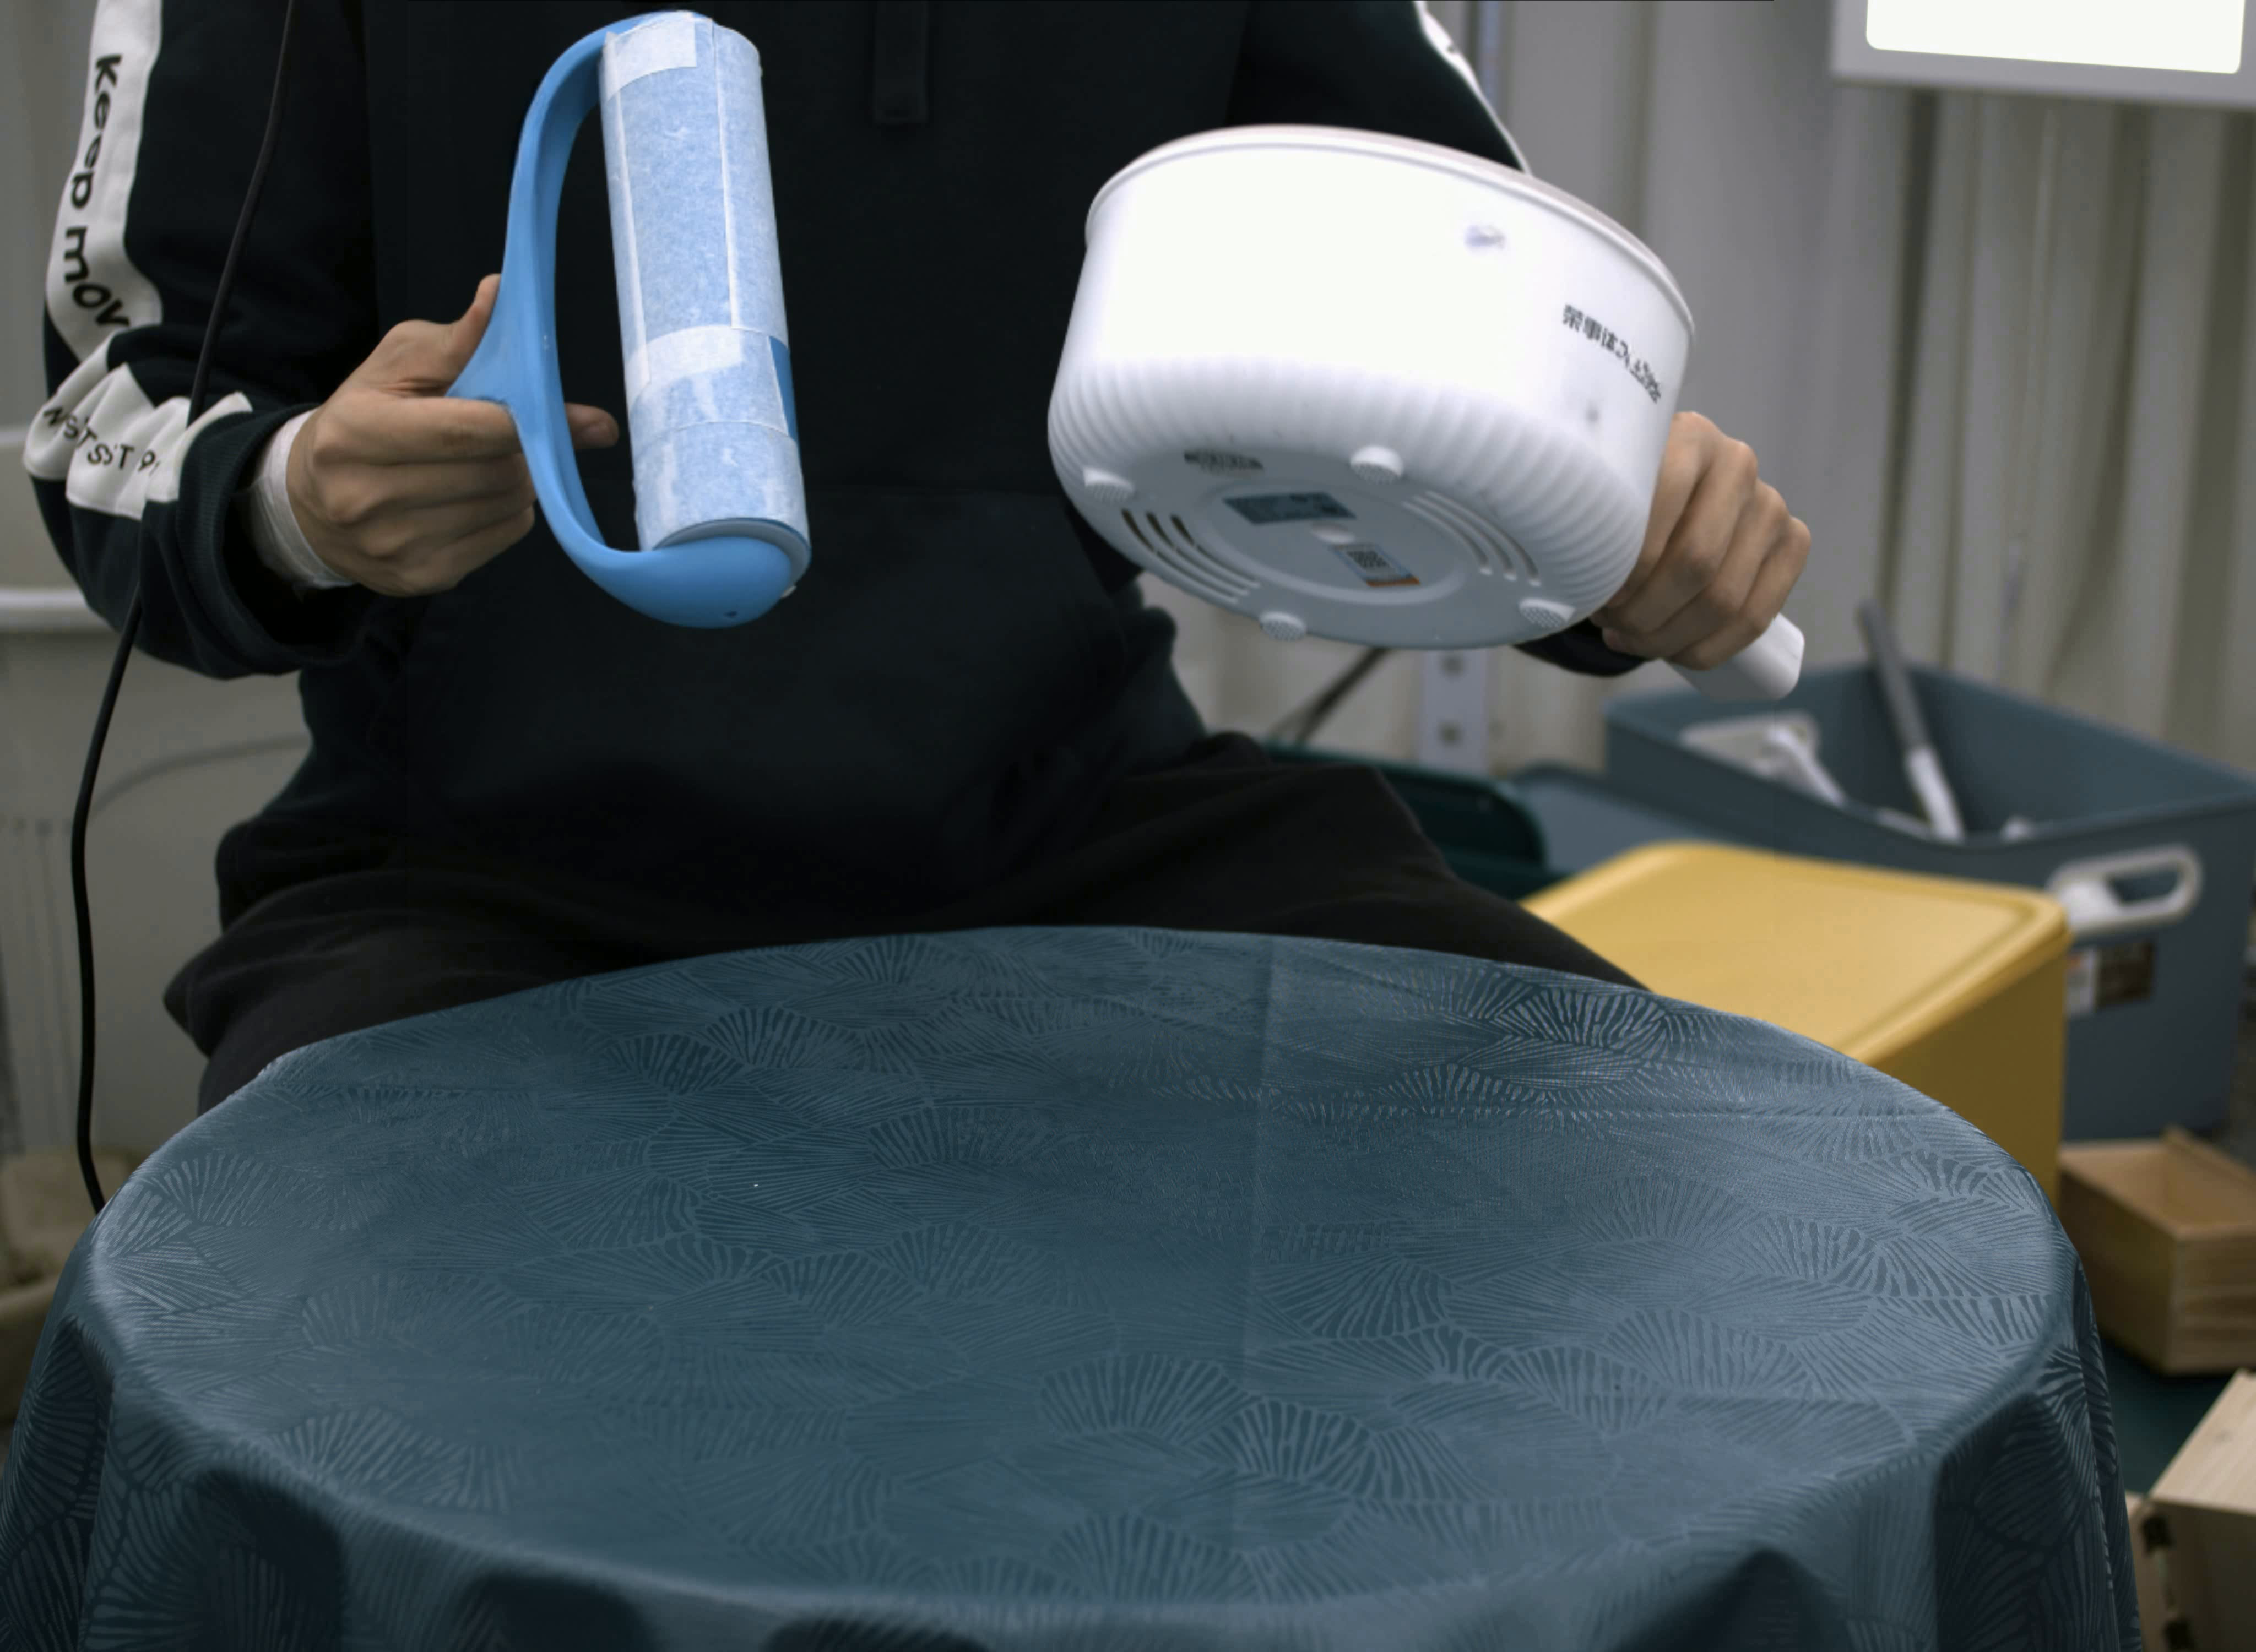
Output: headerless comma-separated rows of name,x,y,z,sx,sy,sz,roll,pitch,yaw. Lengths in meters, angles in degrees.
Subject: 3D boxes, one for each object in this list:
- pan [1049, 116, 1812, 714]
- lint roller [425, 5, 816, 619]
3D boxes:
pan,0.117,-0.099,1.735,0.199,0.102,0.359,-2,-27,37
lint roller,-0.182,-0.143,1.714,0.179,0.227,0.069,-29,-32,29
